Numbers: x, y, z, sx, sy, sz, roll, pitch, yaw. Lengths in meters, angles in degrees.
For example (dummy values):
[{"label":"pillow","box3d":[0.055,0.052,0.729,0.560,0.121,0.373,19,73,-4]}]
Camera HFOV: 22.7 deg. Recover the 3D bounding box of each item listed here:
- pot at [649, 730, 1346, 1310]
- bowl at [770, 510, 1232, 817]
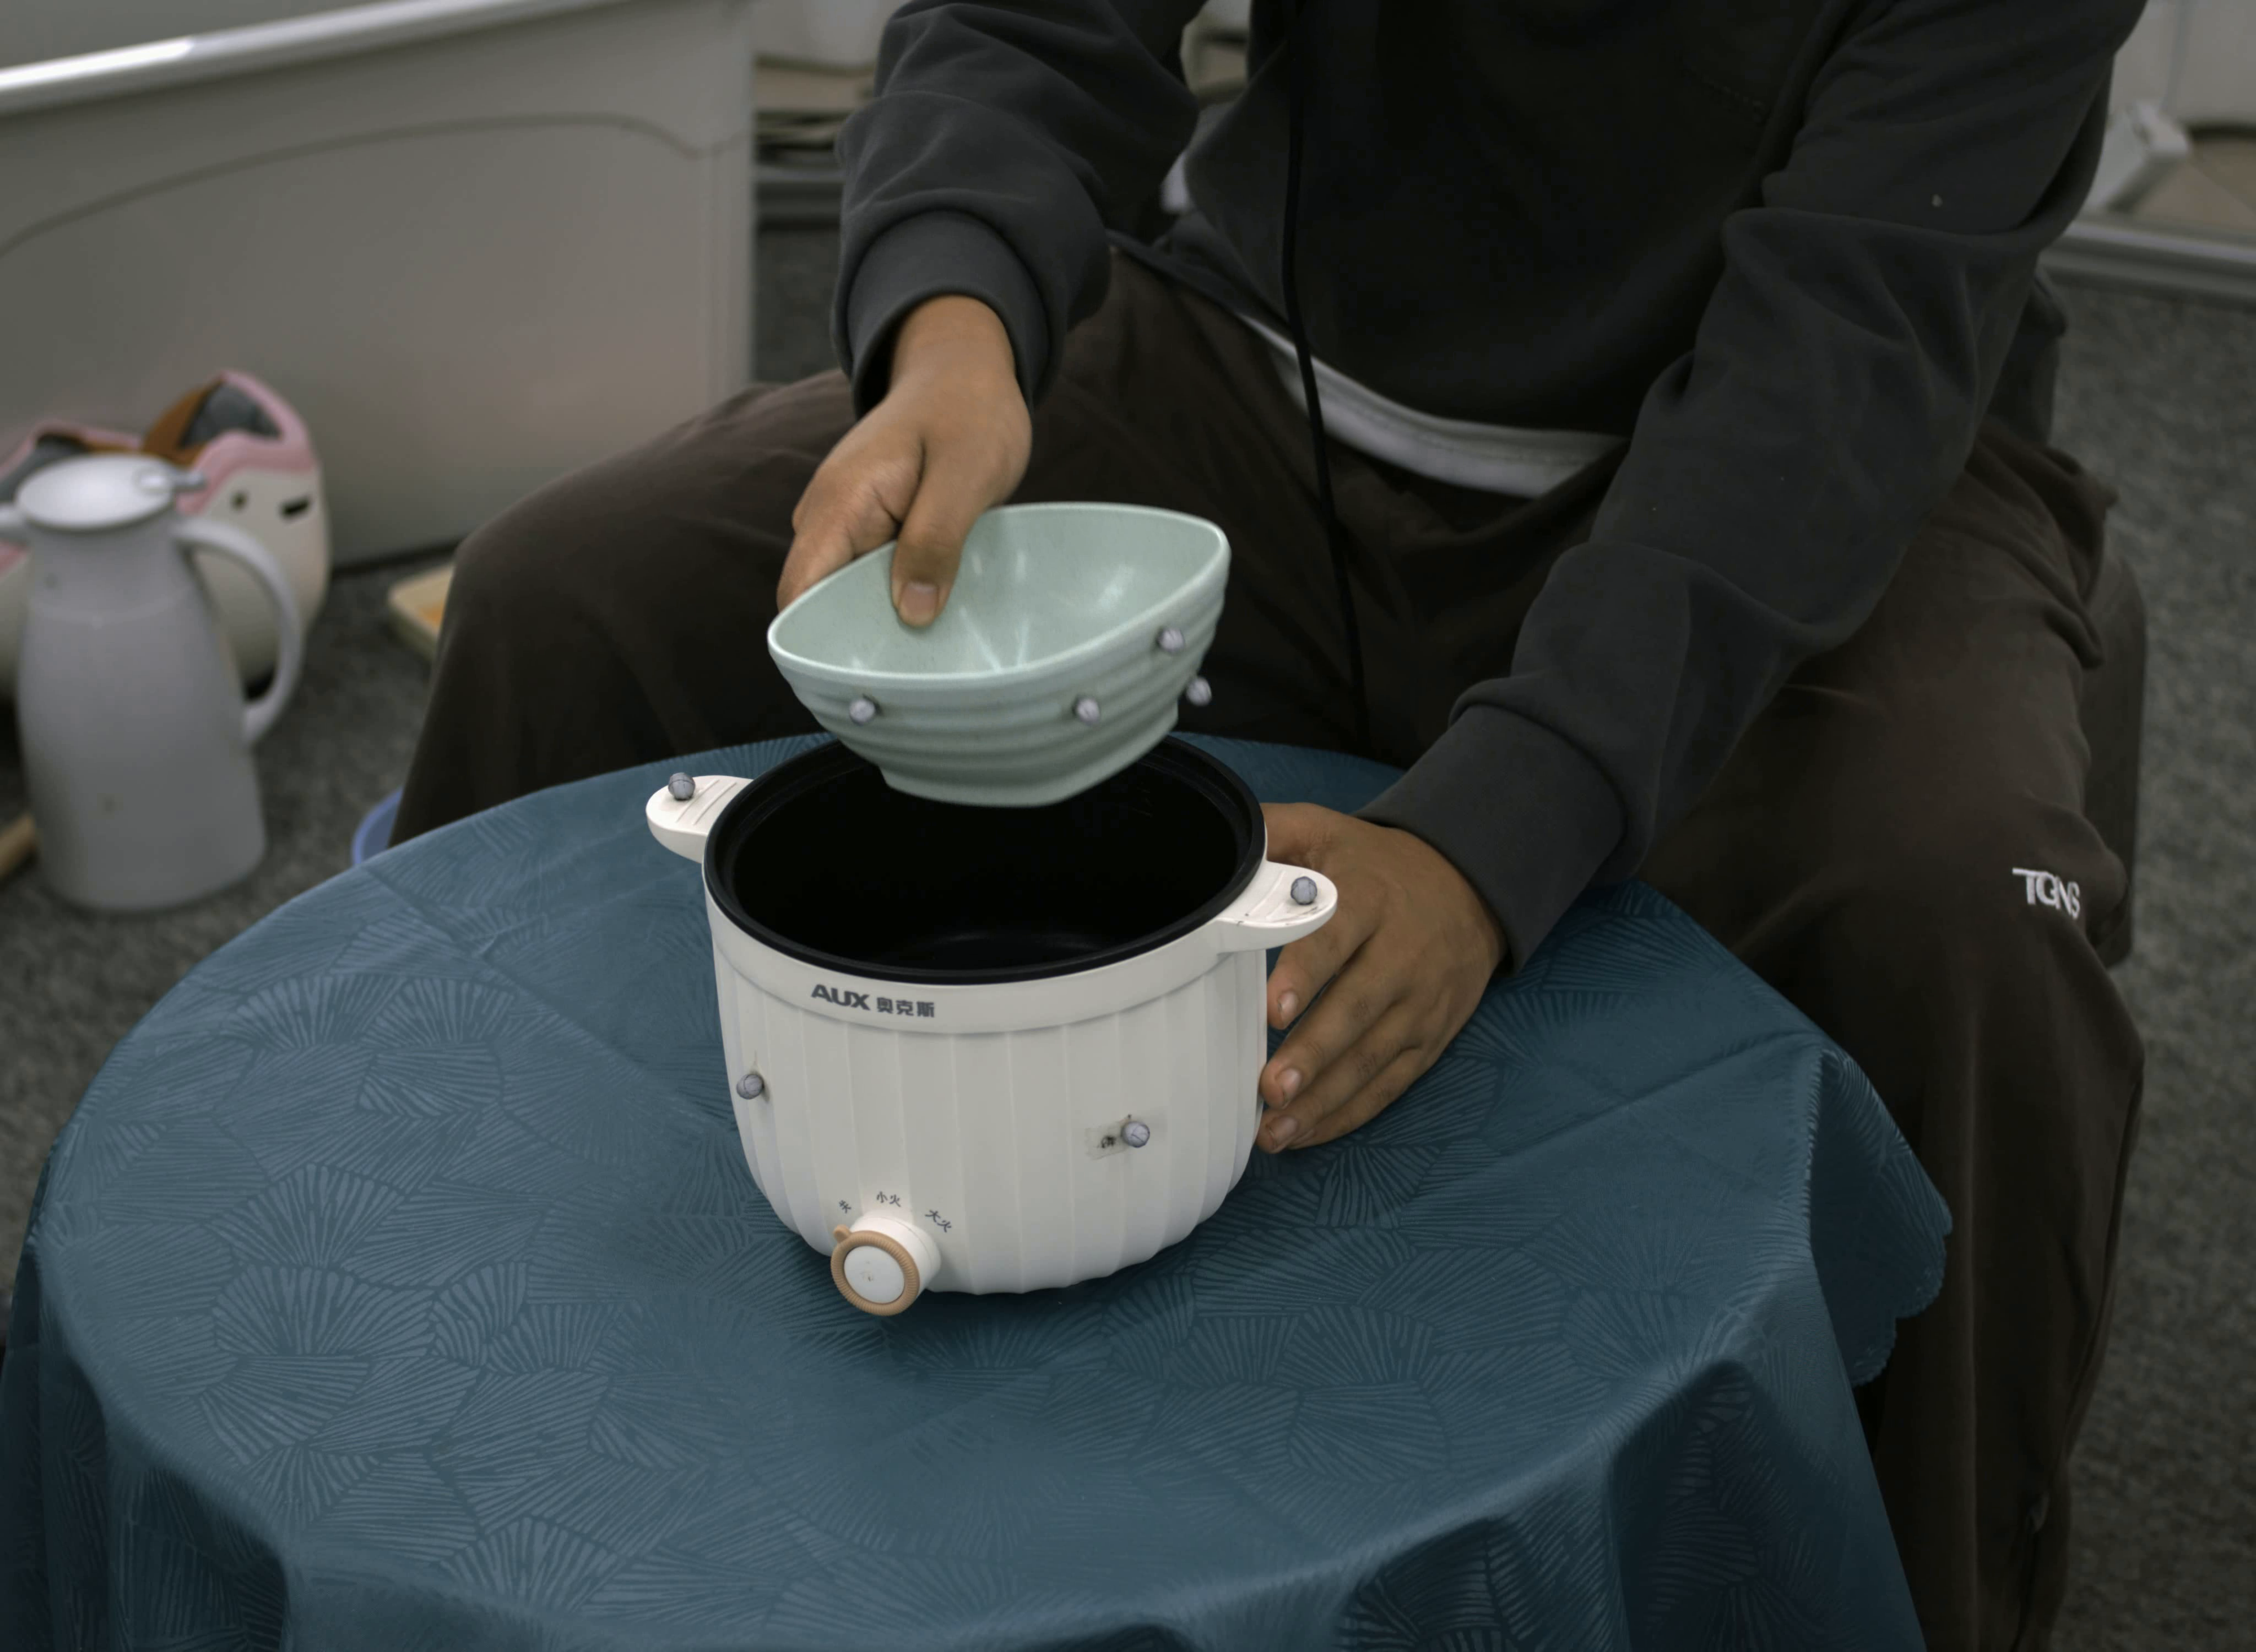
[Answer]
[{"label":"pot","box3d":[-0.042,0.063,1.830,0.238,0.141,0.193,6,25,20]},{"label":"bowl","box3d":[-0.037,-0.048,1.813,0.150,0.058,0.153,-8,23,4]}]
